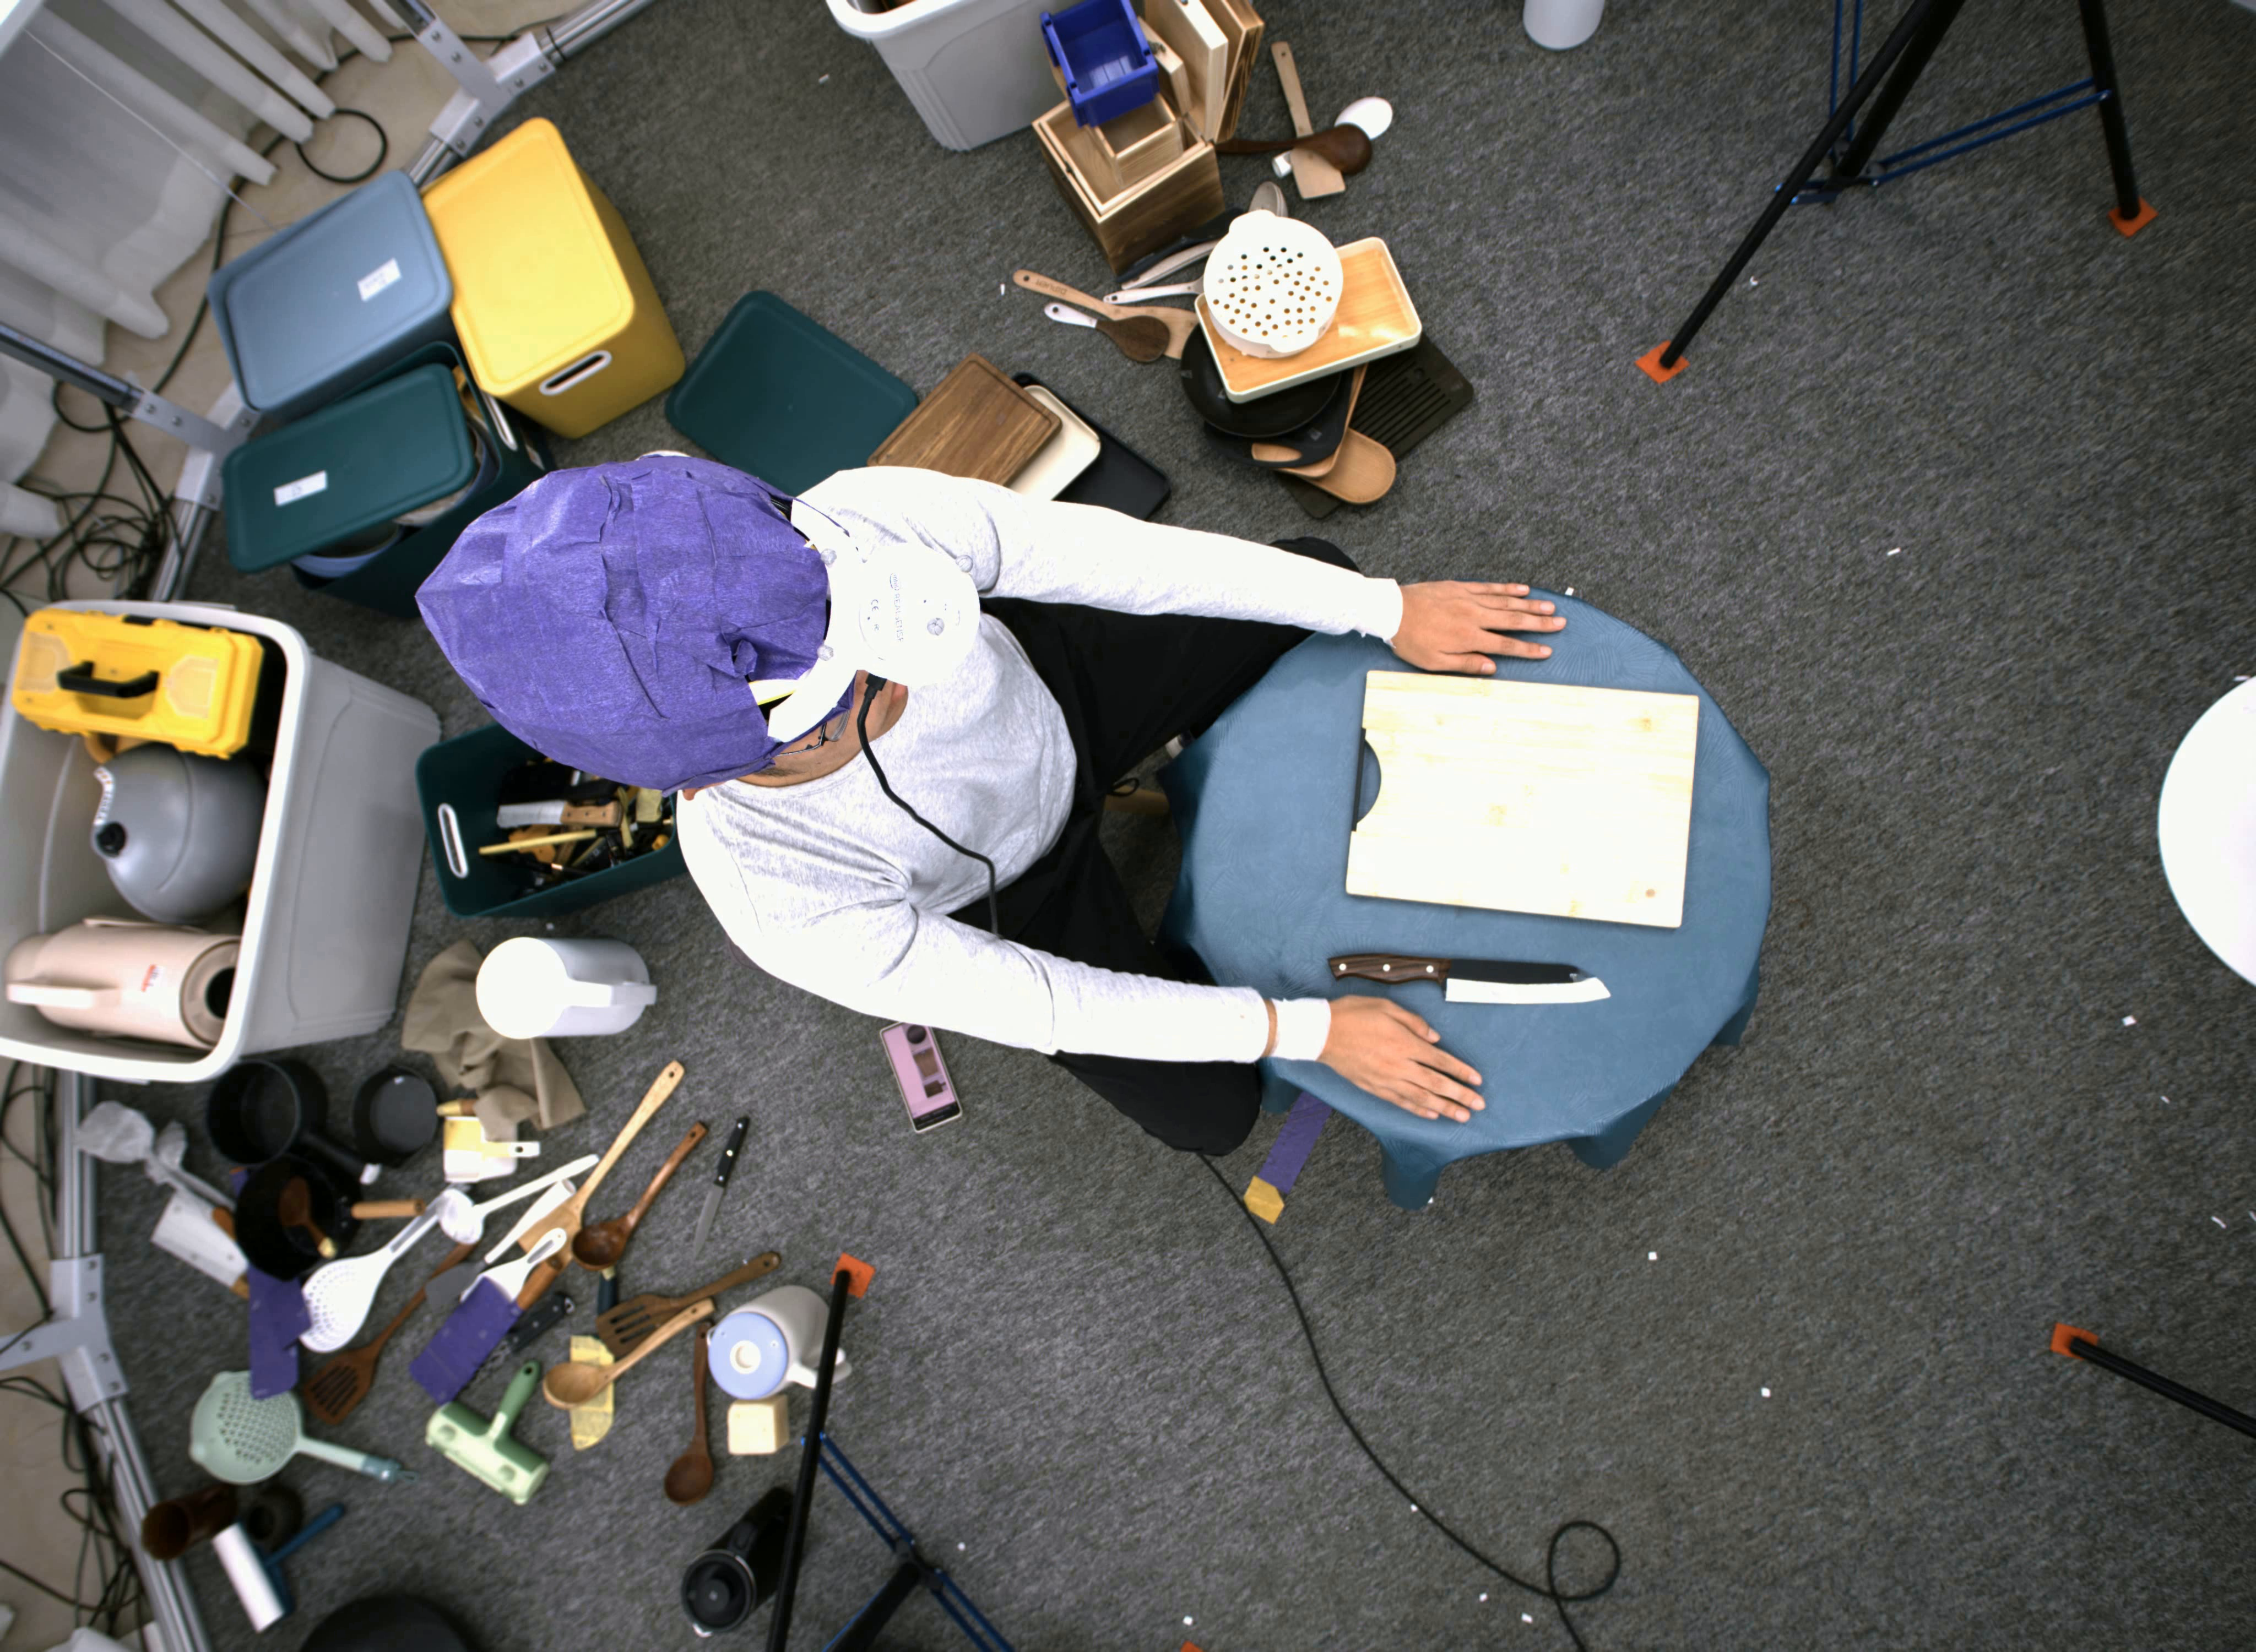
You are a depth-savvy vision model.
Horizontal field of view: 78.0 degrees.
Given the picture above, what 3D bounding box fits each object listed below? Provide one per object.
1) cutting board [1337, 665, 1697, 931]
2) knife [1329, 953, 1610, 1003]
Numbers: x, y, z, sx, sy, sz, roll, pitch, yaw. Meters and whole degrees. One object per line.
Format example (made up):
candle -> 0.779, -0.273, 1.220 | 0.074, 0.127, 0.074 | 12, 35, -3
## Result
cutting board -> 0.403, -0.035, 1.433 | 0.350, 0.023, 0.250 | 5, 87, 11
knife -> 0.353, 0.156, 1.432 | 0.290, 0.020, 0.050 | 4, 92, 8
